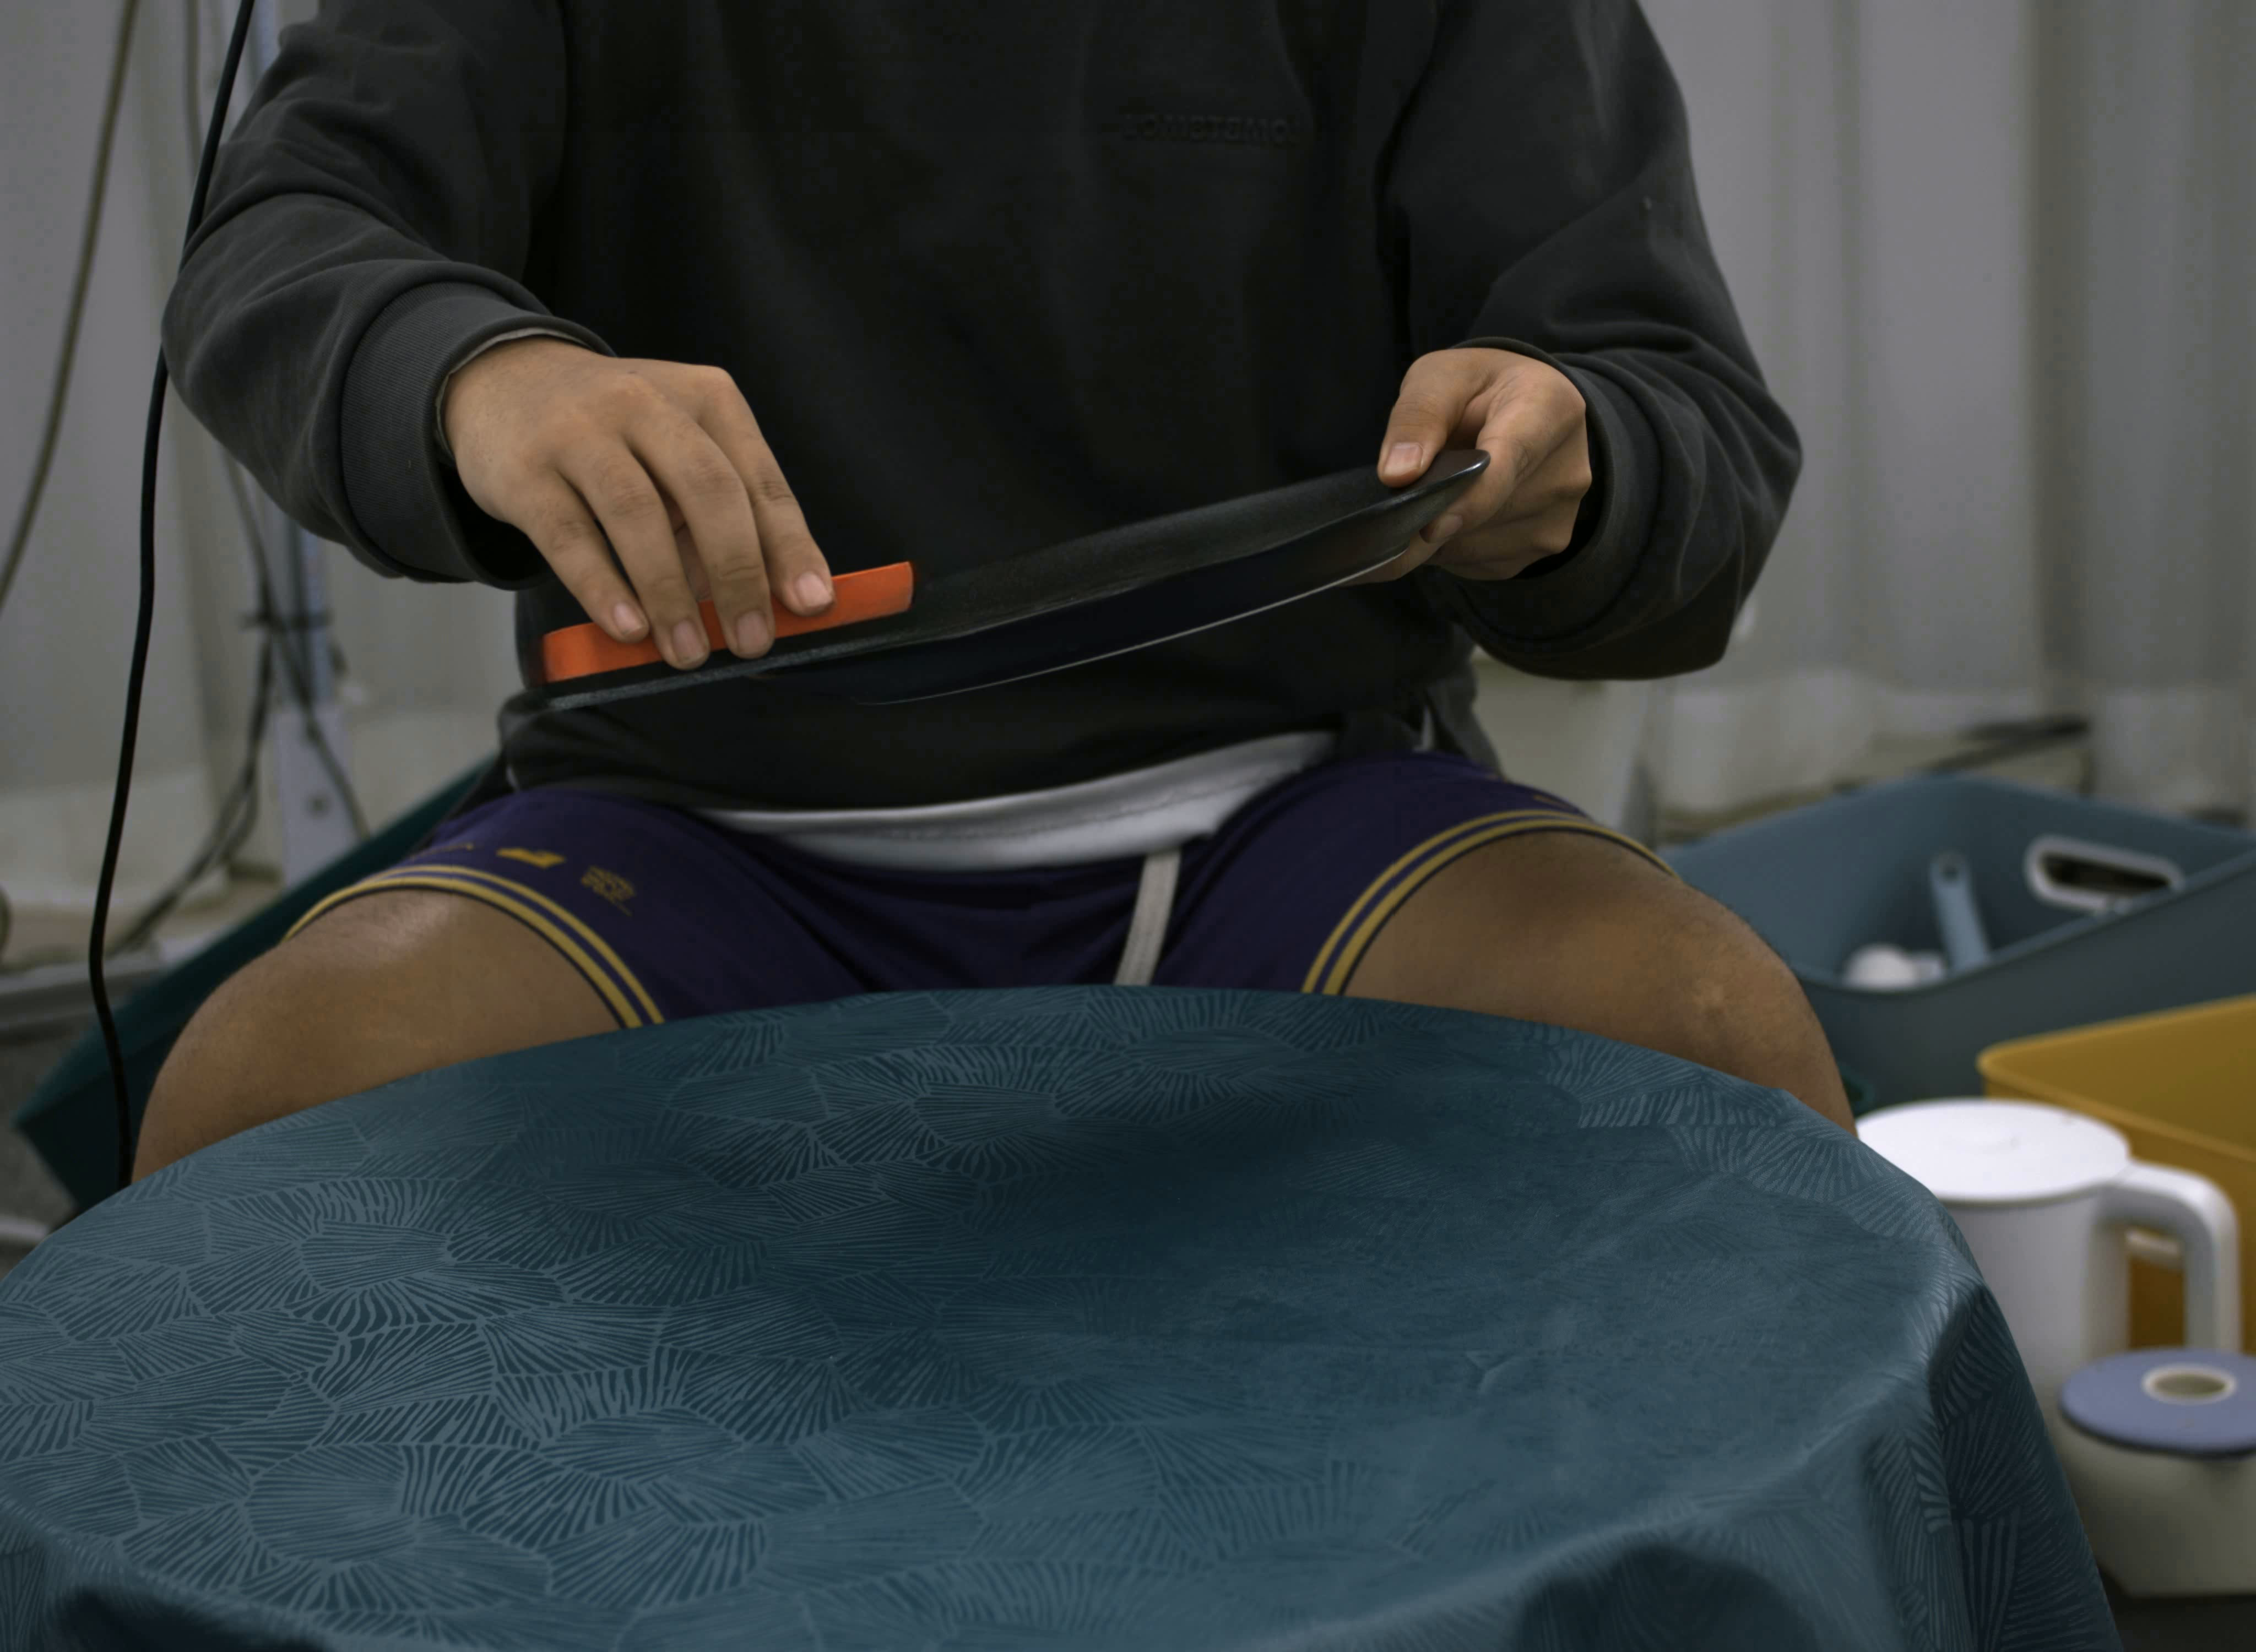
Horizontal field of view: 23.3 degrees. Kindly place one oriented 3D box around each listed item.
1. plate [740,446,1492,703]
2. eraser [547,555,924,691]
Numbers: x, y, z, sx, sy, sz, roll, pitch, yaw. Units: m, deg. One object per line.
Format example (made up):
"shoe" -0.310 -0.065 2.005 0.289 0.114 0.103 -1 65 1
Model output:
"plate" -0.001 -0.074 1.705 0.243 0.023 0.245 -15 7 1
"eraser" -0.117 -0.060 1.630 0.107 0.023 0.059 -10 2 -10
